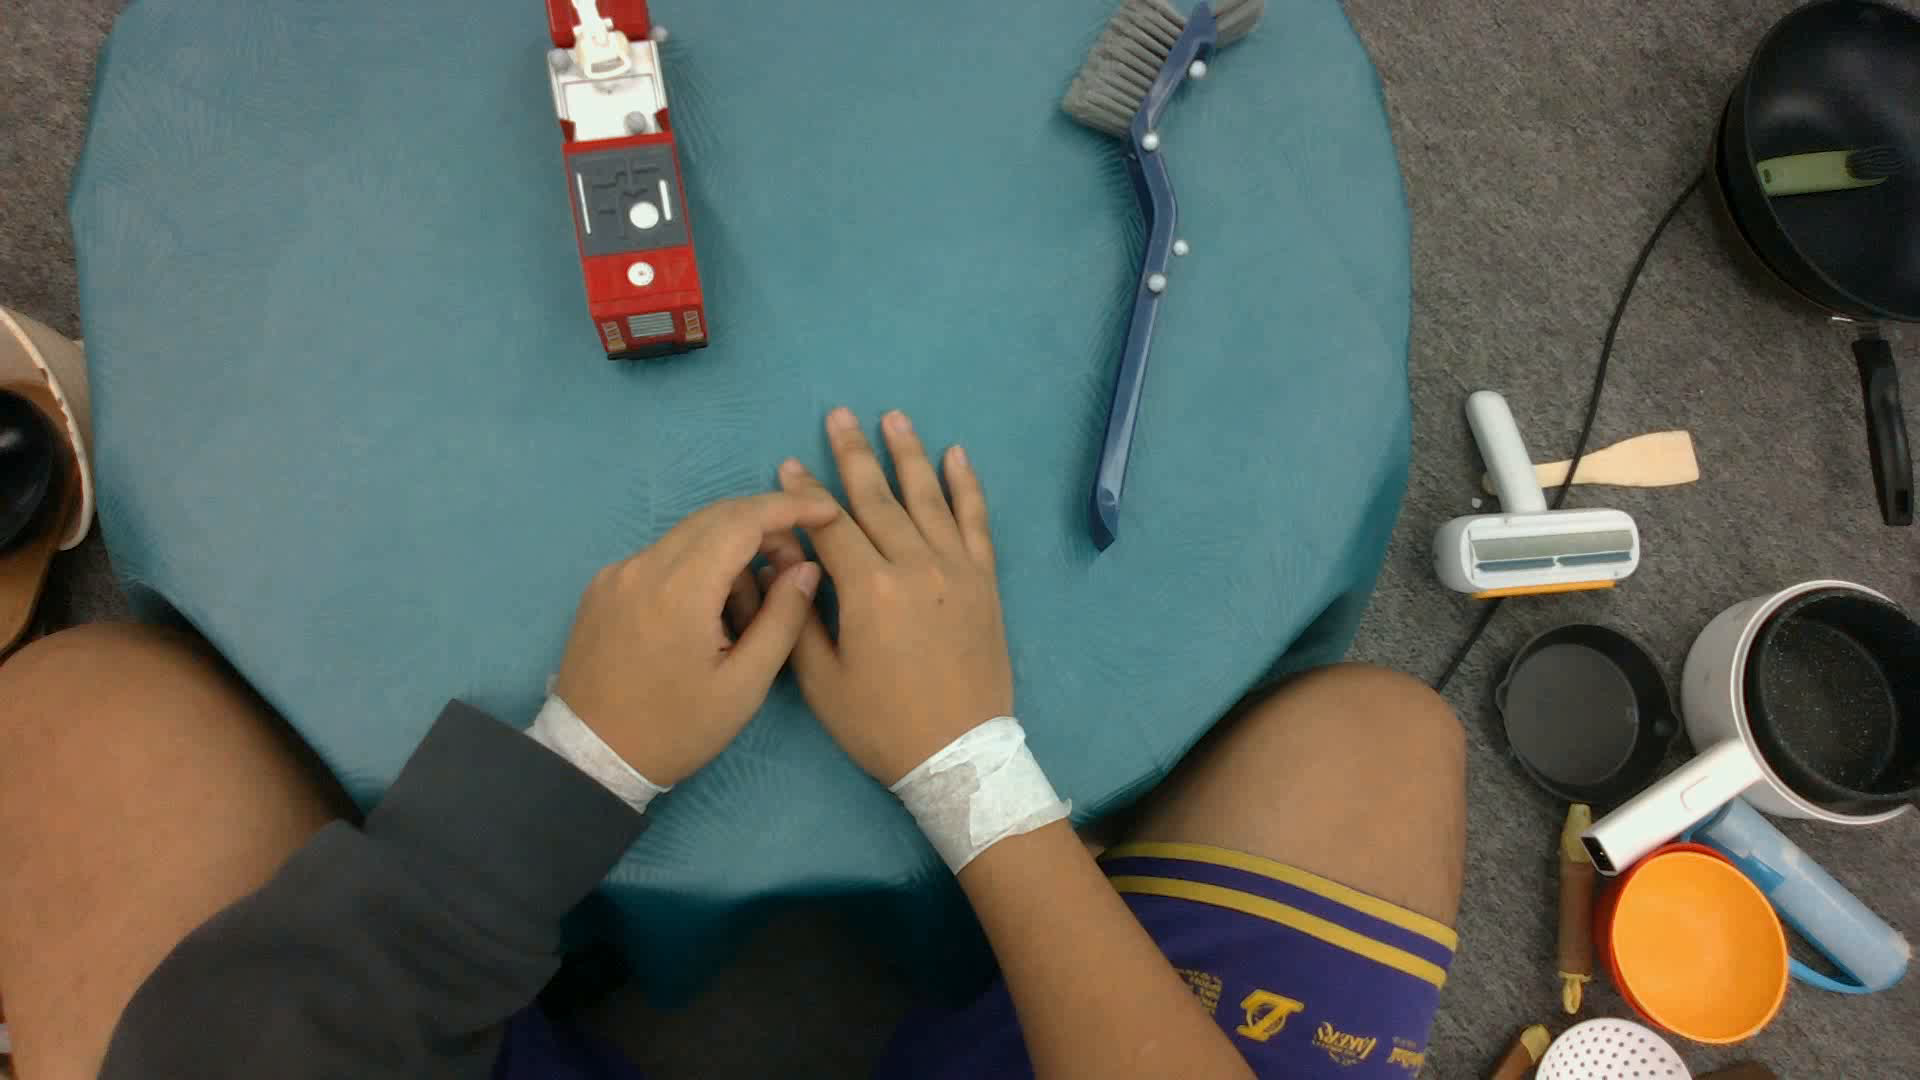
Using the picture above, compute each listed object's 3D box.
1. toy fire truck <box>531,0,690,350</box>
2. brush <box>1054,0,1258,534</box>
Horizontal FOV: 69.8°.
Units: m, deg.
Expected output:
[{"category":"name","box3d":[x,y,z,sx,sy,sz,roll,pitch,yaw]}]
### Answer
[{"category":"toy fire truck","box3d":[-0.152,-0.167,0.592,0.054,0.070,0.168,-11,82,-10]},{"category":"brush","box3d":[0.088,-0.134,0.635,0.096,0.033,0.273,6,78,-8]}]
